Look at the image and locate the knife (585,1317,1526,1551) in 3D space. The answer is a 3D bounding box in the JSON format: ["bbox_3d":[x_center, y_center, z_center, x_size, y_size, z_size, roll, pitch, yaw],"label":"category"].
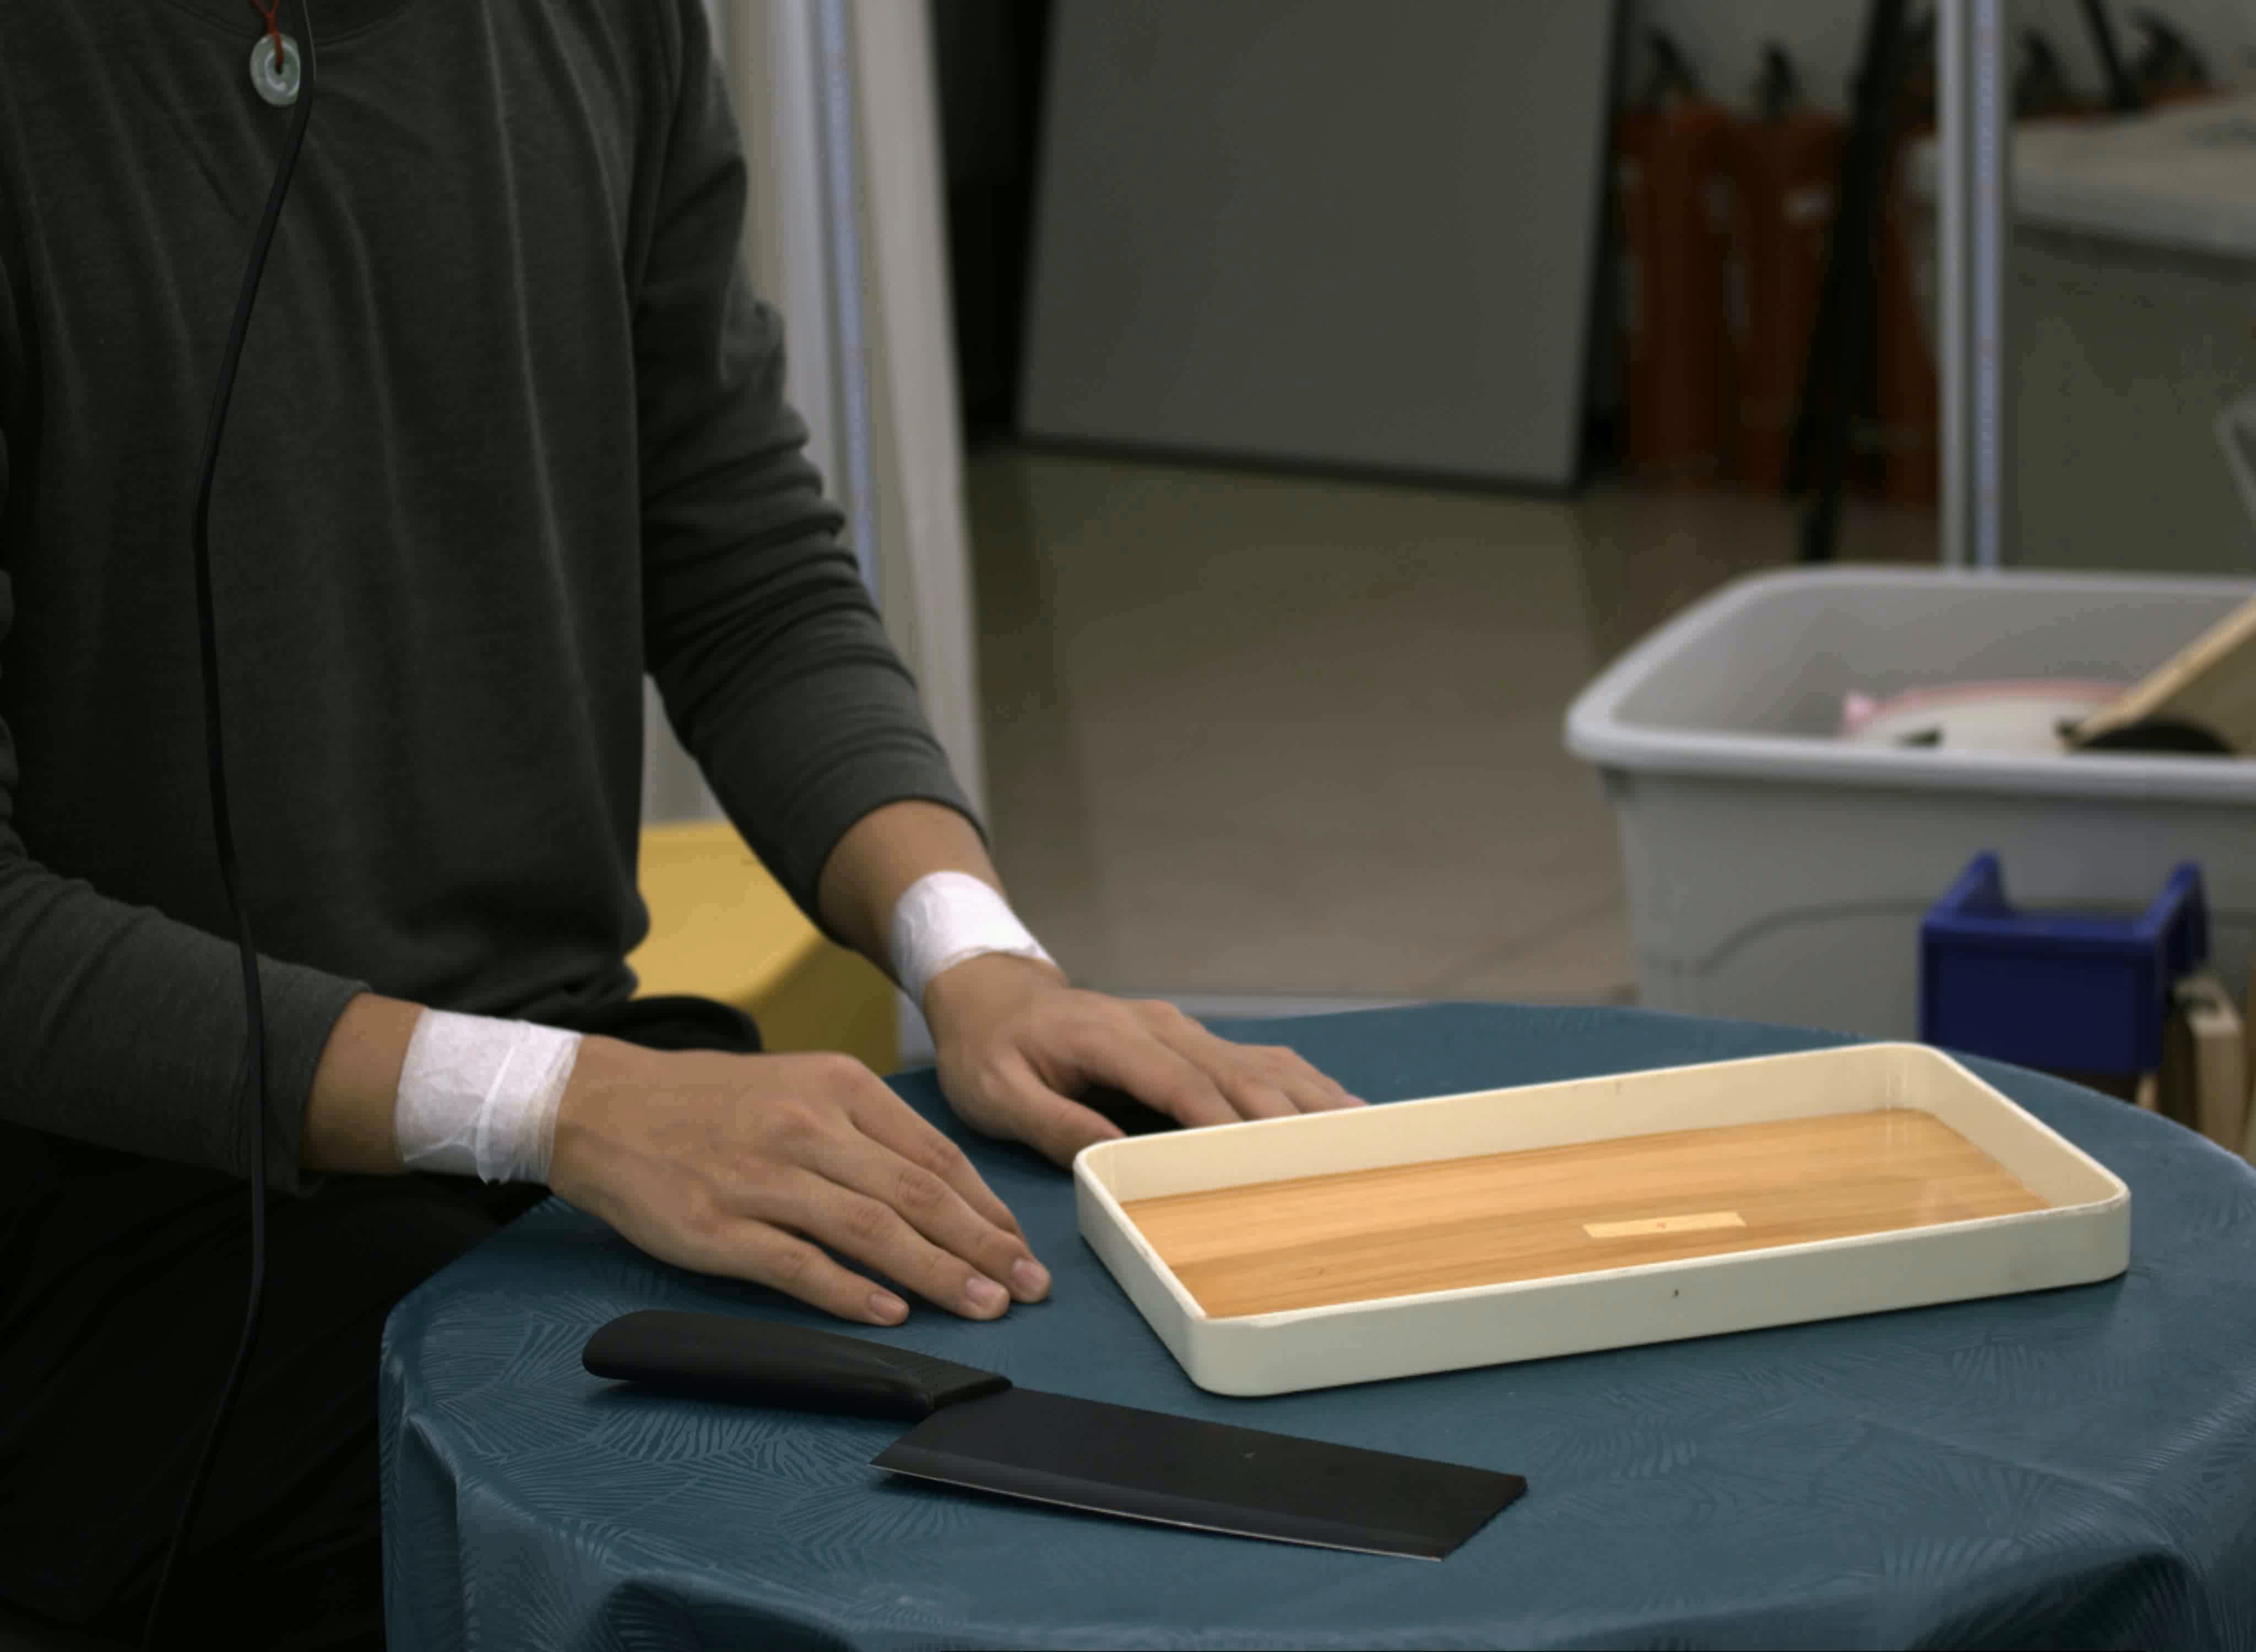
[{"bbox_3d":[-0.030,0.174,1.539,0.304,0.021,0.079,7,19,34],"label":"knife"}]

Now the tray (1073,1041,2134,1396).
[{"bbox_3d":[0.144,0.120,1.681,0.295,0.028,0.193,-7,14,-11],"label":"tray"}]
